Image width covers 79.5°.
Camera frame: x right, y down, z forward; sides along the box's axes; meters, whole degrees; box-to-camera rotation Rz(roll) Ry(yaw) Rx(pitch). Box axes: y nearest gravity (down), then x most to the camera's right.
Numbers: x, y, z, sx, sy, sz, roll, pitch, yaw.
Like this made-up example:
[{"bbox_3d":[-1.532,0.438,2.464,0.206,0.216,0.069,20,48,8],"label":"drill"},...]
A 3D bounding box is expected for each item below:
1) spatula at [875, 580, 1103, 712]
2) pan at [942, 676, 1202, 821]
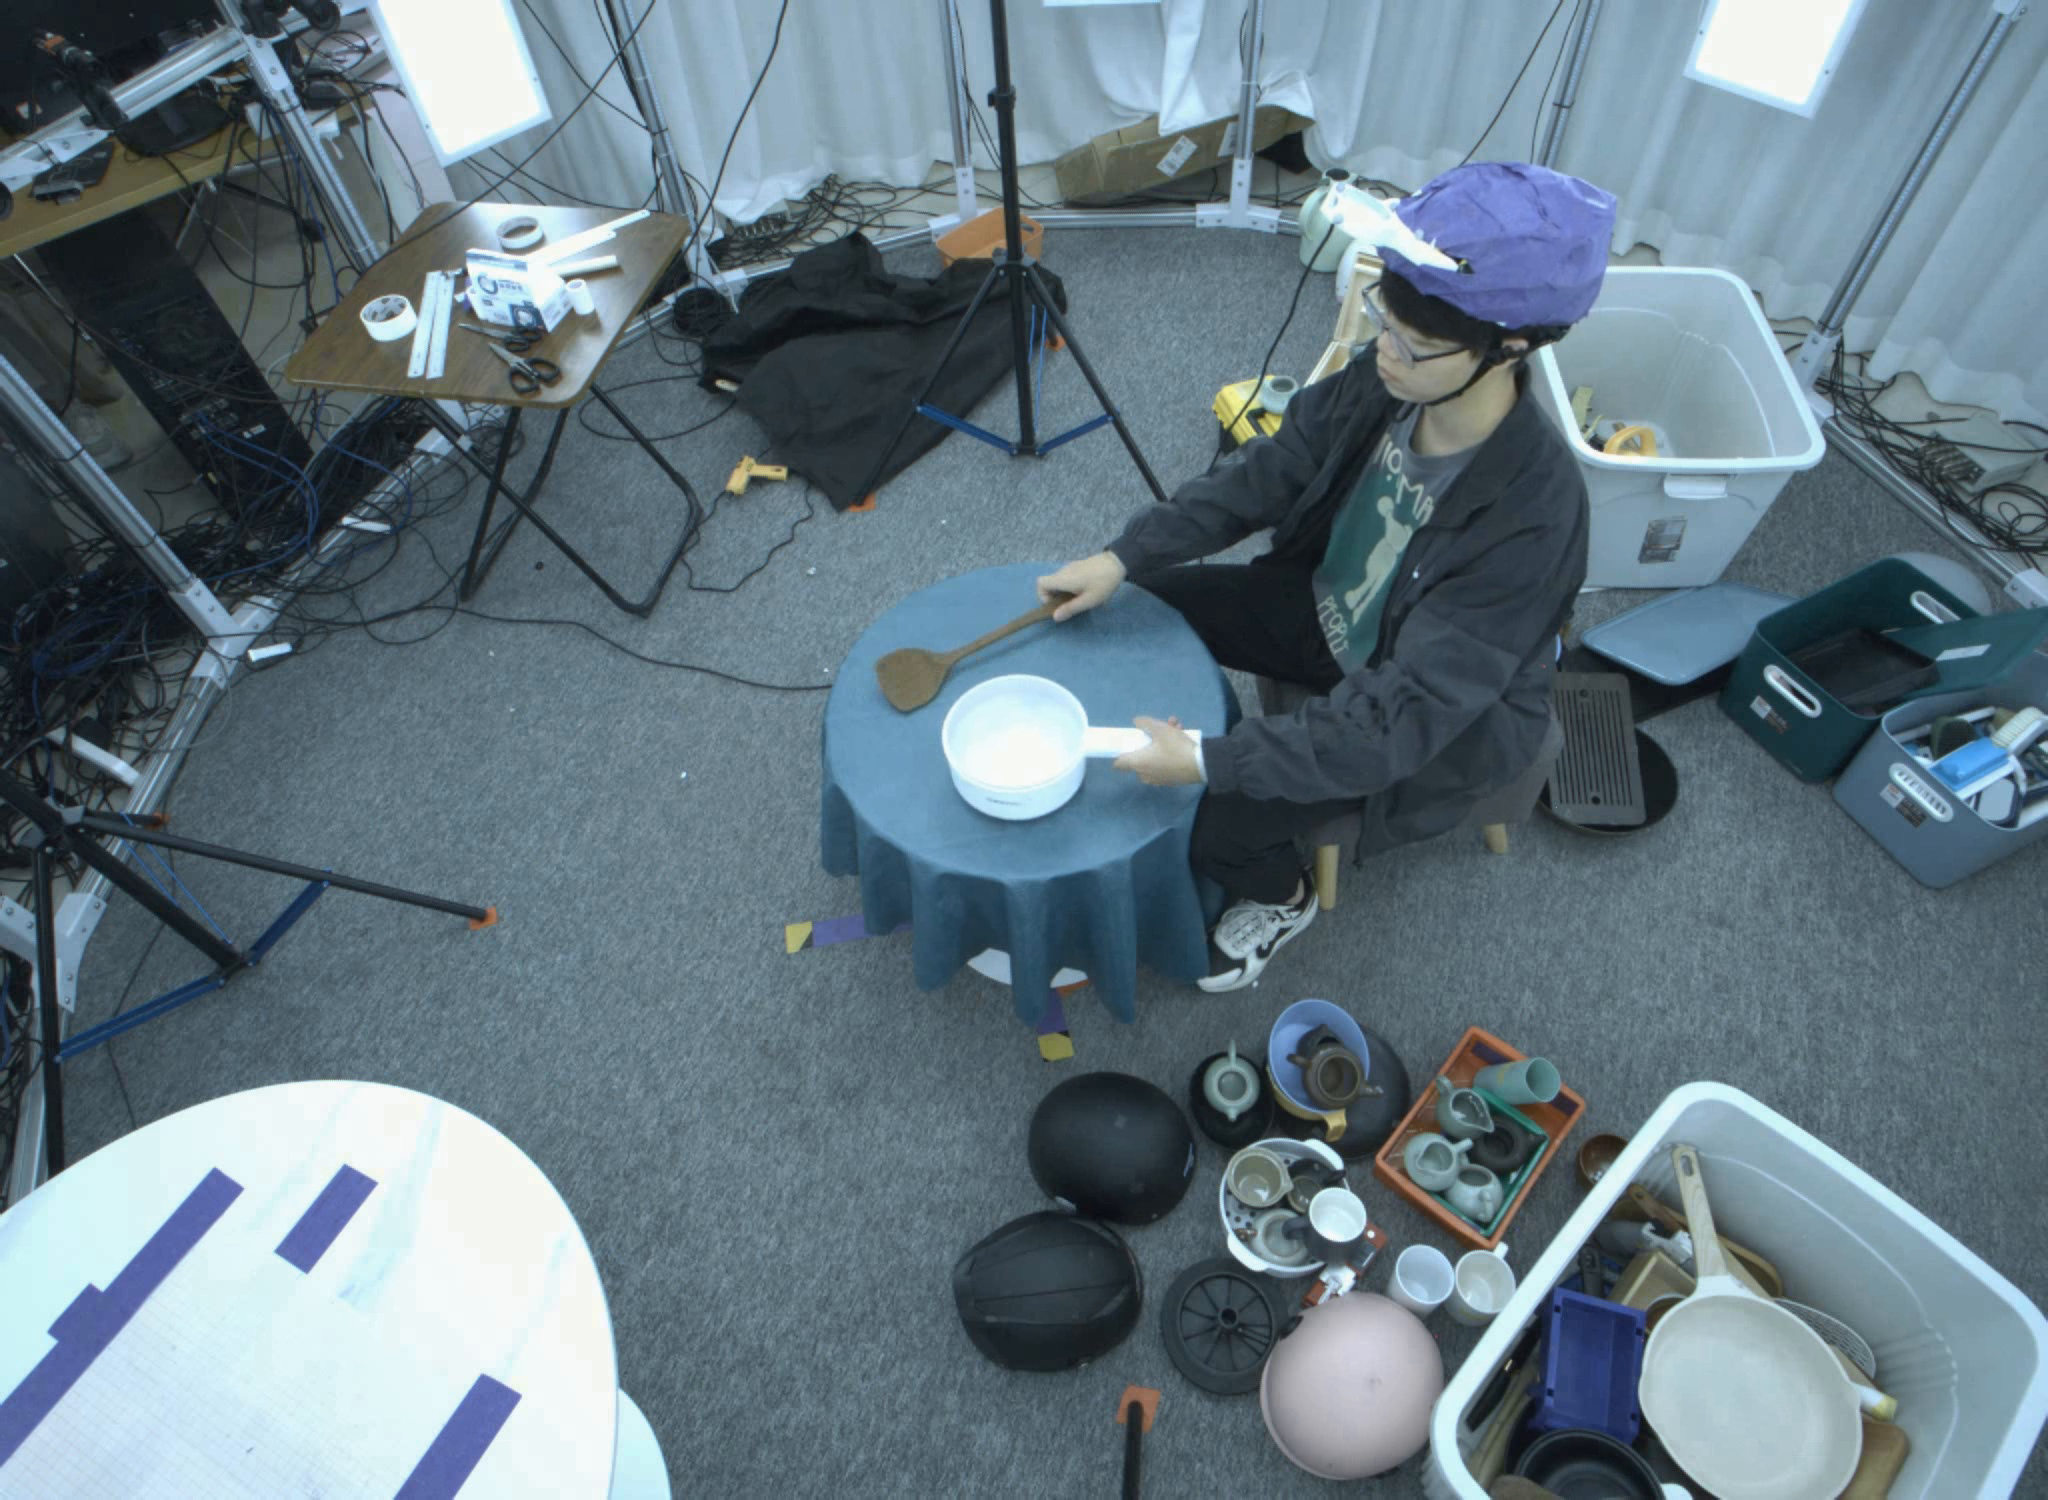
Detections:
[{"bbox_3d":[-0.045,-0.174,1.874,0.388,0.016,0.095,-27,80,-14],"label":"spatula"},{"bbox_3d":[0.067,0.007,1.713,0.354,0.103,0.199,4,54,3],"label":"pan"}]
